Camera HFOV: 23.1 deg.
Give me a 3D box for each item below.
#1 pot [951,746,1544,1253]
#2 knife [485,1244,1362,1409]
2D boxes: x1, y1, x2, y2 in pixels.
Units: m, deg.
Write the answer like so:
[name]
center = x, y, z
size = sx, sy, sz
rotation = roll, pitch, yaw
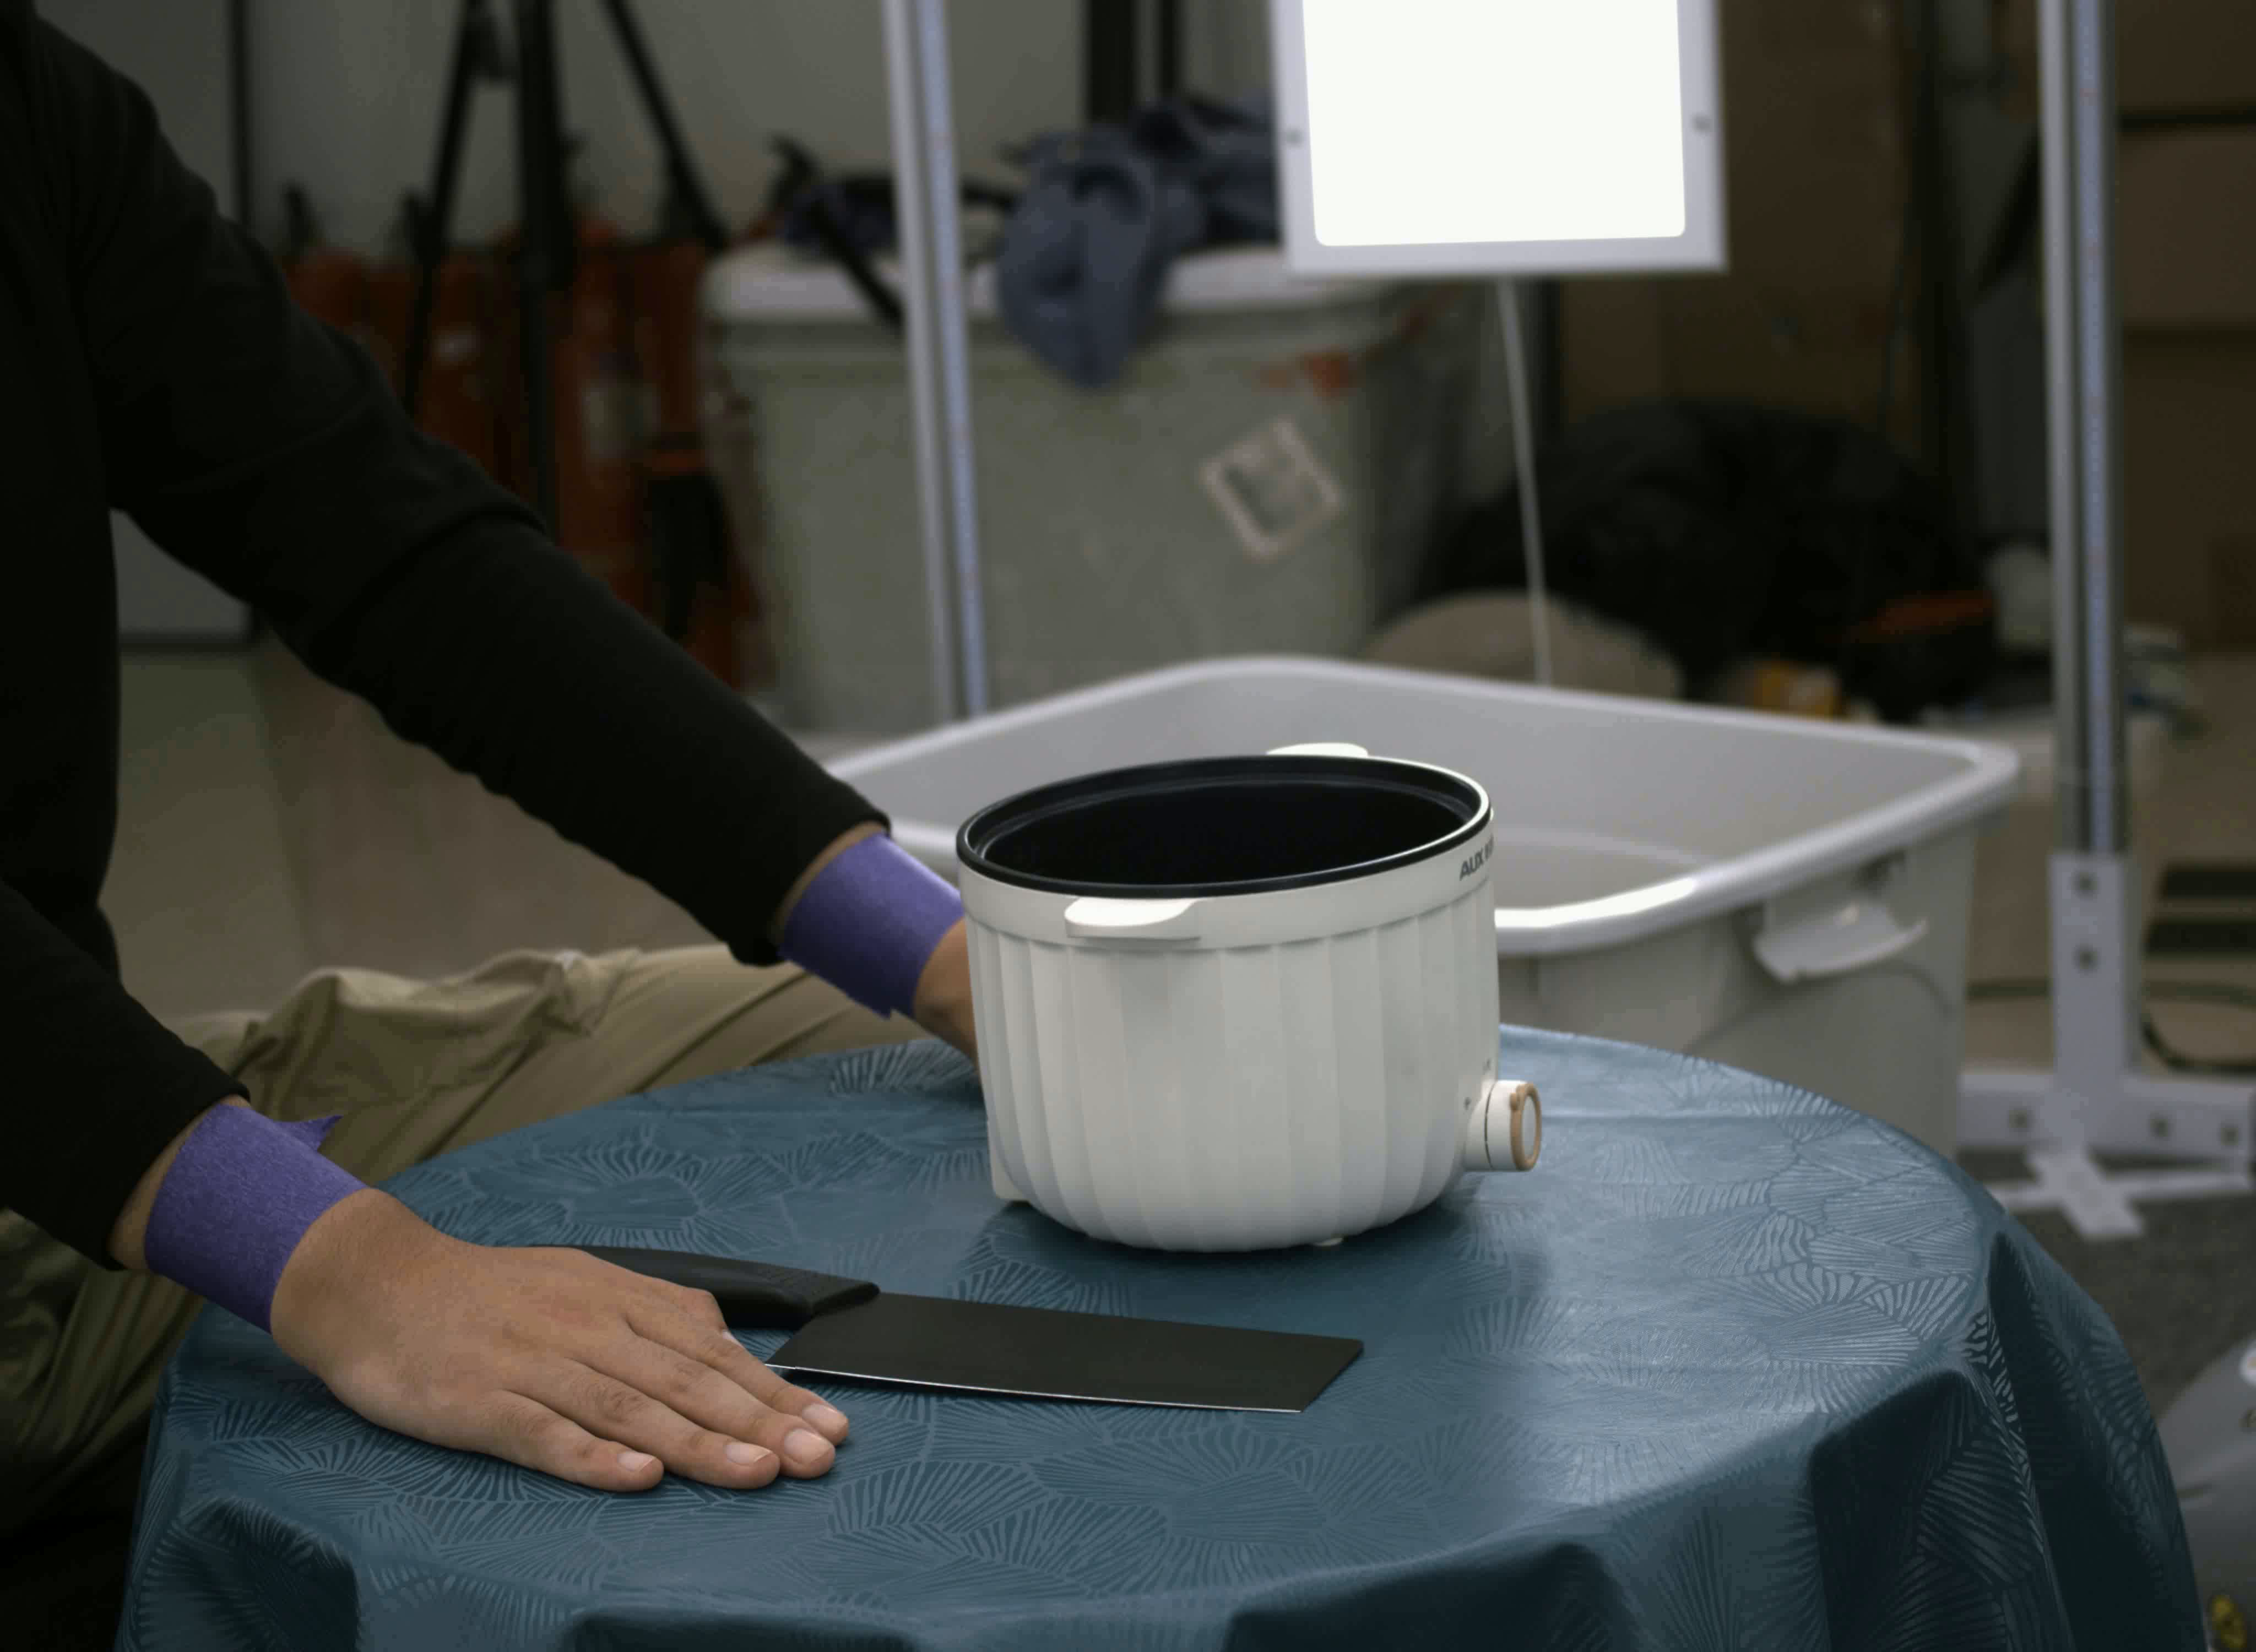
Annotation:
[pot]
center = 0.042, 0.061, 1.860
size = 0.193, 0.143, 0.236
rotation = -3, 15, 21
[knife]
center = -0.073, 0.161, 1.759
size = 0.308, 0.021, 0.079
rotation = 5, 18, 29
